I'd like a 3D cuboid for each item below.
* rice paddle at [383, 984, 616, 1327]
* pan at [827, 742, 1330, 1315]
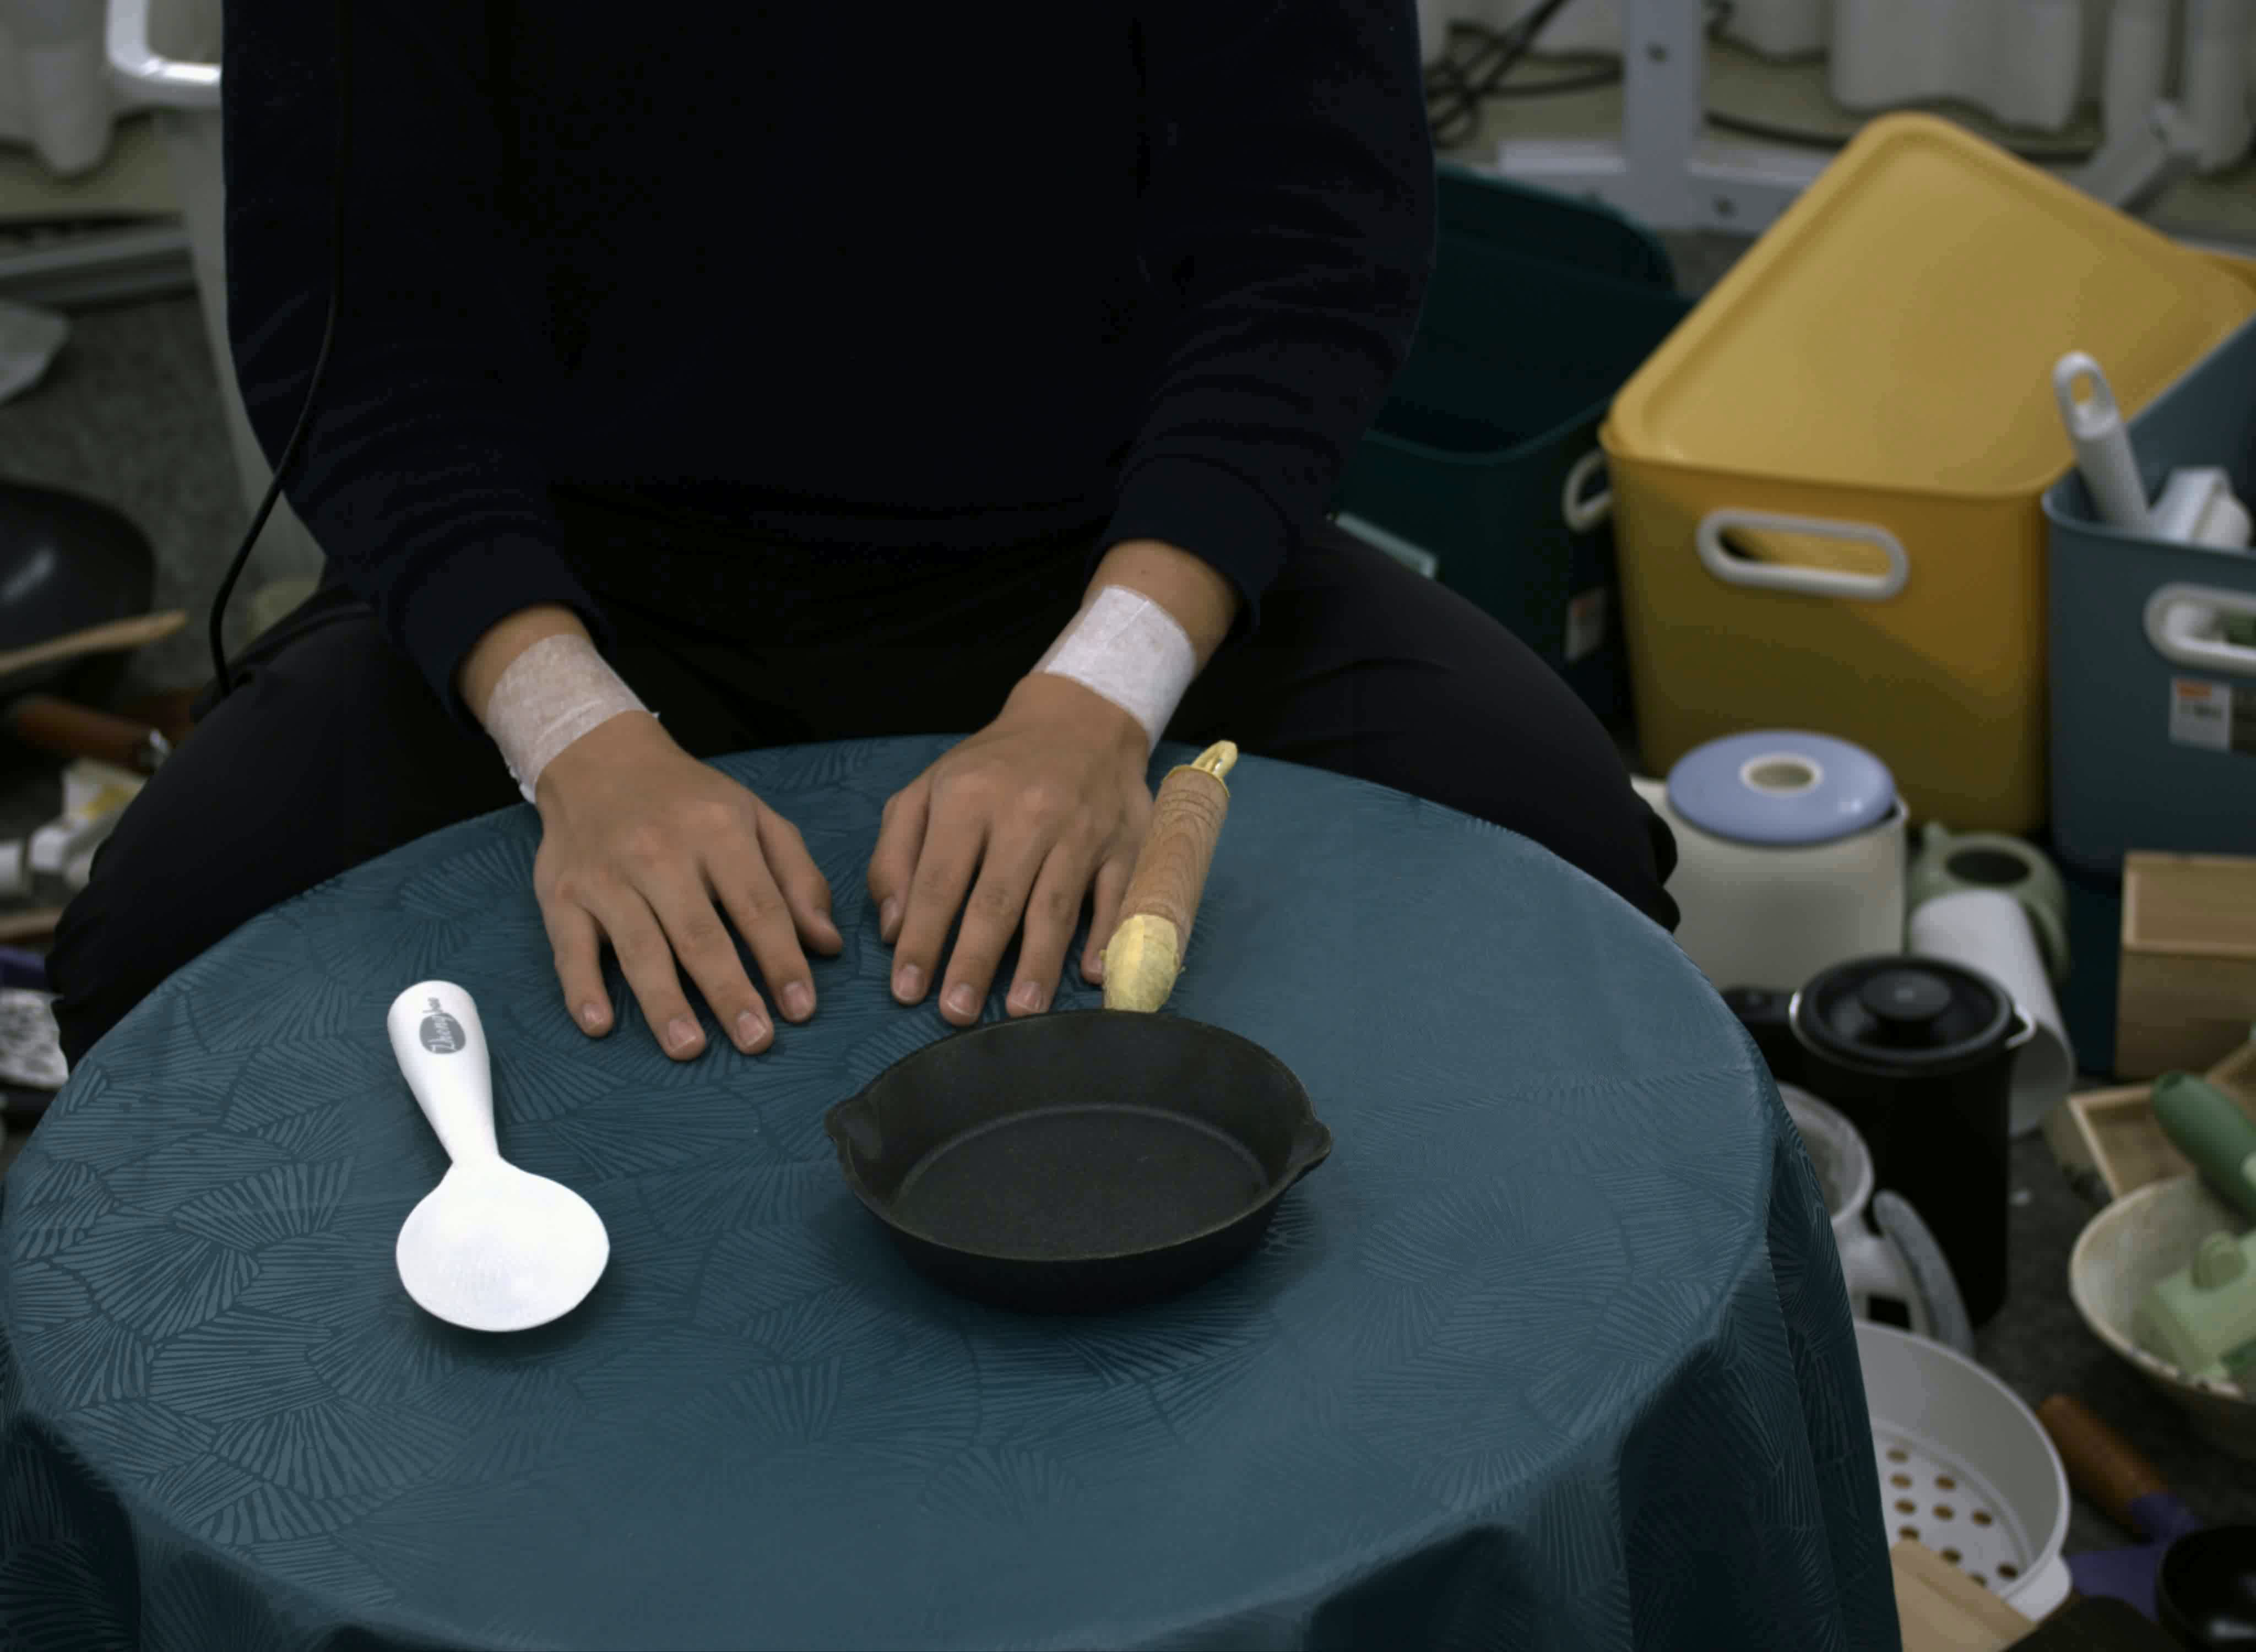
[{"bbox_3d":[-0.217,0.112,1.872,0.069,0.029,0.207,-11,28,-12],"label":"rice paddle"},{"bbox_3d":[0.002,0.066,1.915,0.168,0.049,0.330,3,30,12],"label":"pan"}]
